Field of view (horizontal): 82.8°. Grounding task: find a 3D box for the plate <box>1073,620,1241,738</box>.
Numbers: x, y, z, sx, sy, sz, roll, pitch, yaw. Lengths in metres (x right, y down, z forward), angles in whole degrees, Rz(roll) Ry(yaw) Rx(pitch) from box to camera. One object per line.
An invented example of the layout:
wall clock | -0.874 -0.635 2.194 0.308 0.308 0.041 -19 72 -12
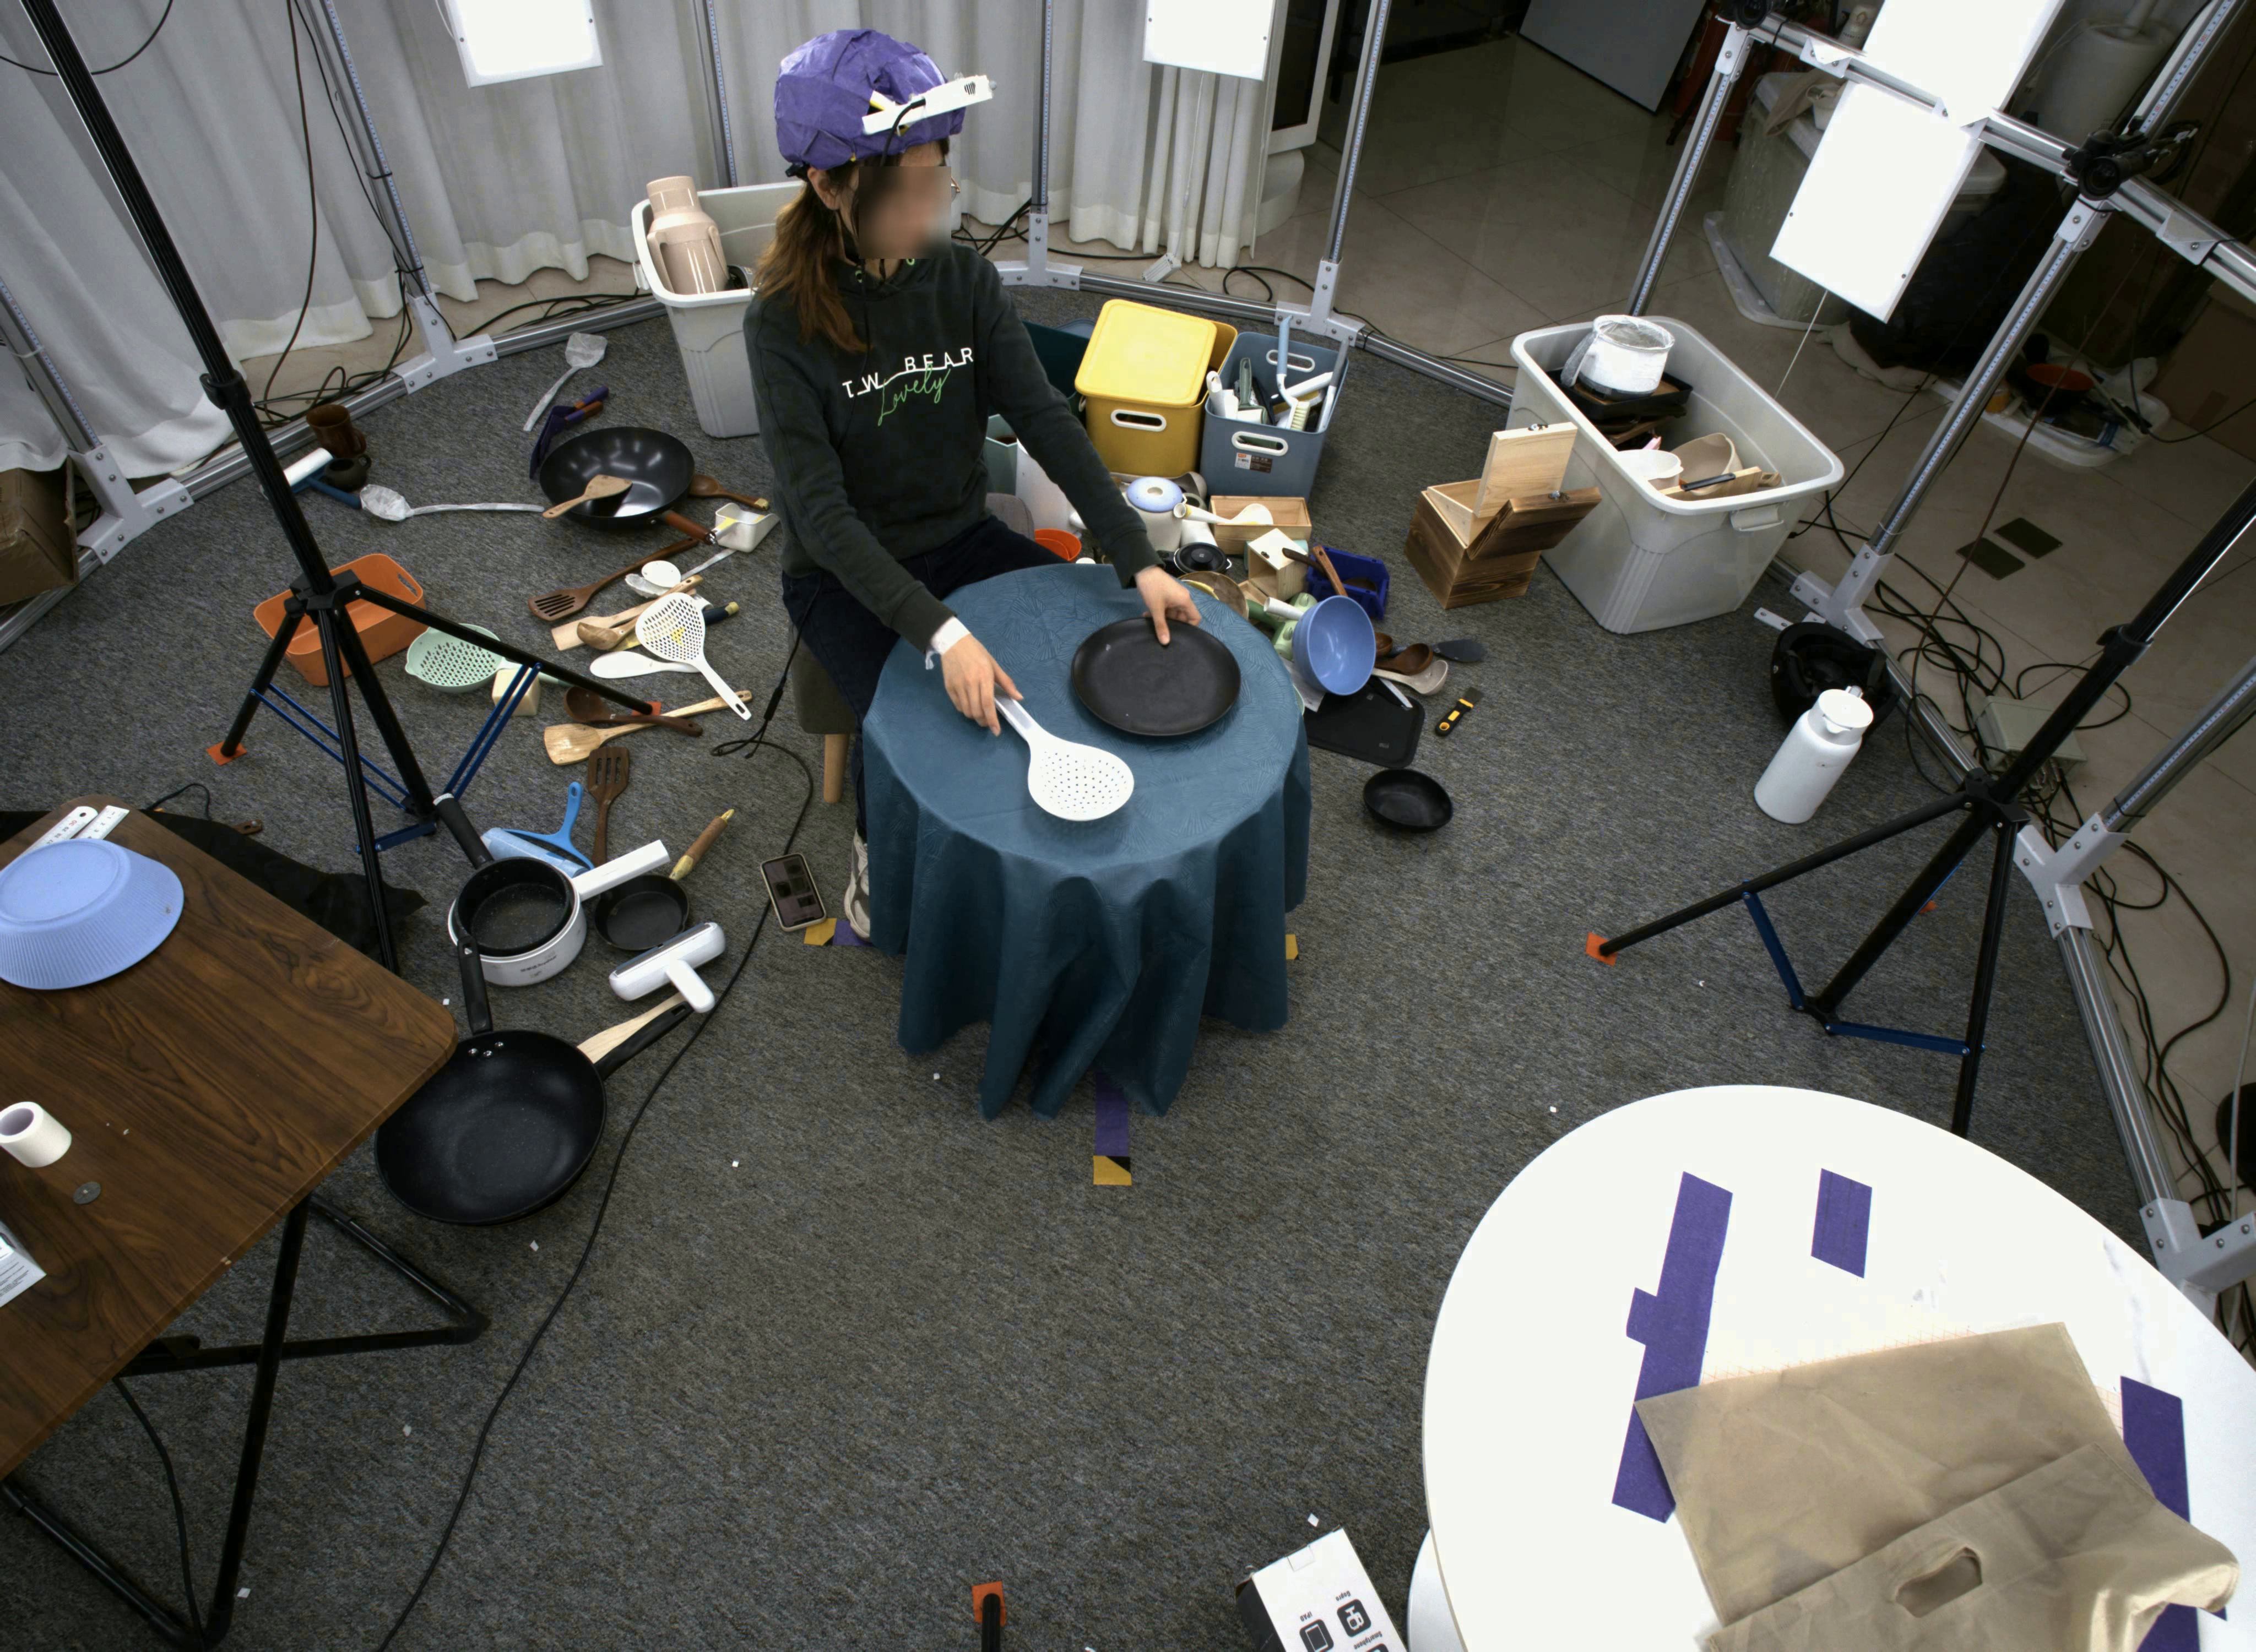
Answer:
plate | 0.042 -0.210 1.855 0.244 0.023 0.250 2 49 -2

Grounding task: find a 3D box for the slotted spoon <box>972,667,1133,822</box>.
slotted spoon | -0.120 -0.117 1.748 0.136 0.044 0.357 -23 53 -24
